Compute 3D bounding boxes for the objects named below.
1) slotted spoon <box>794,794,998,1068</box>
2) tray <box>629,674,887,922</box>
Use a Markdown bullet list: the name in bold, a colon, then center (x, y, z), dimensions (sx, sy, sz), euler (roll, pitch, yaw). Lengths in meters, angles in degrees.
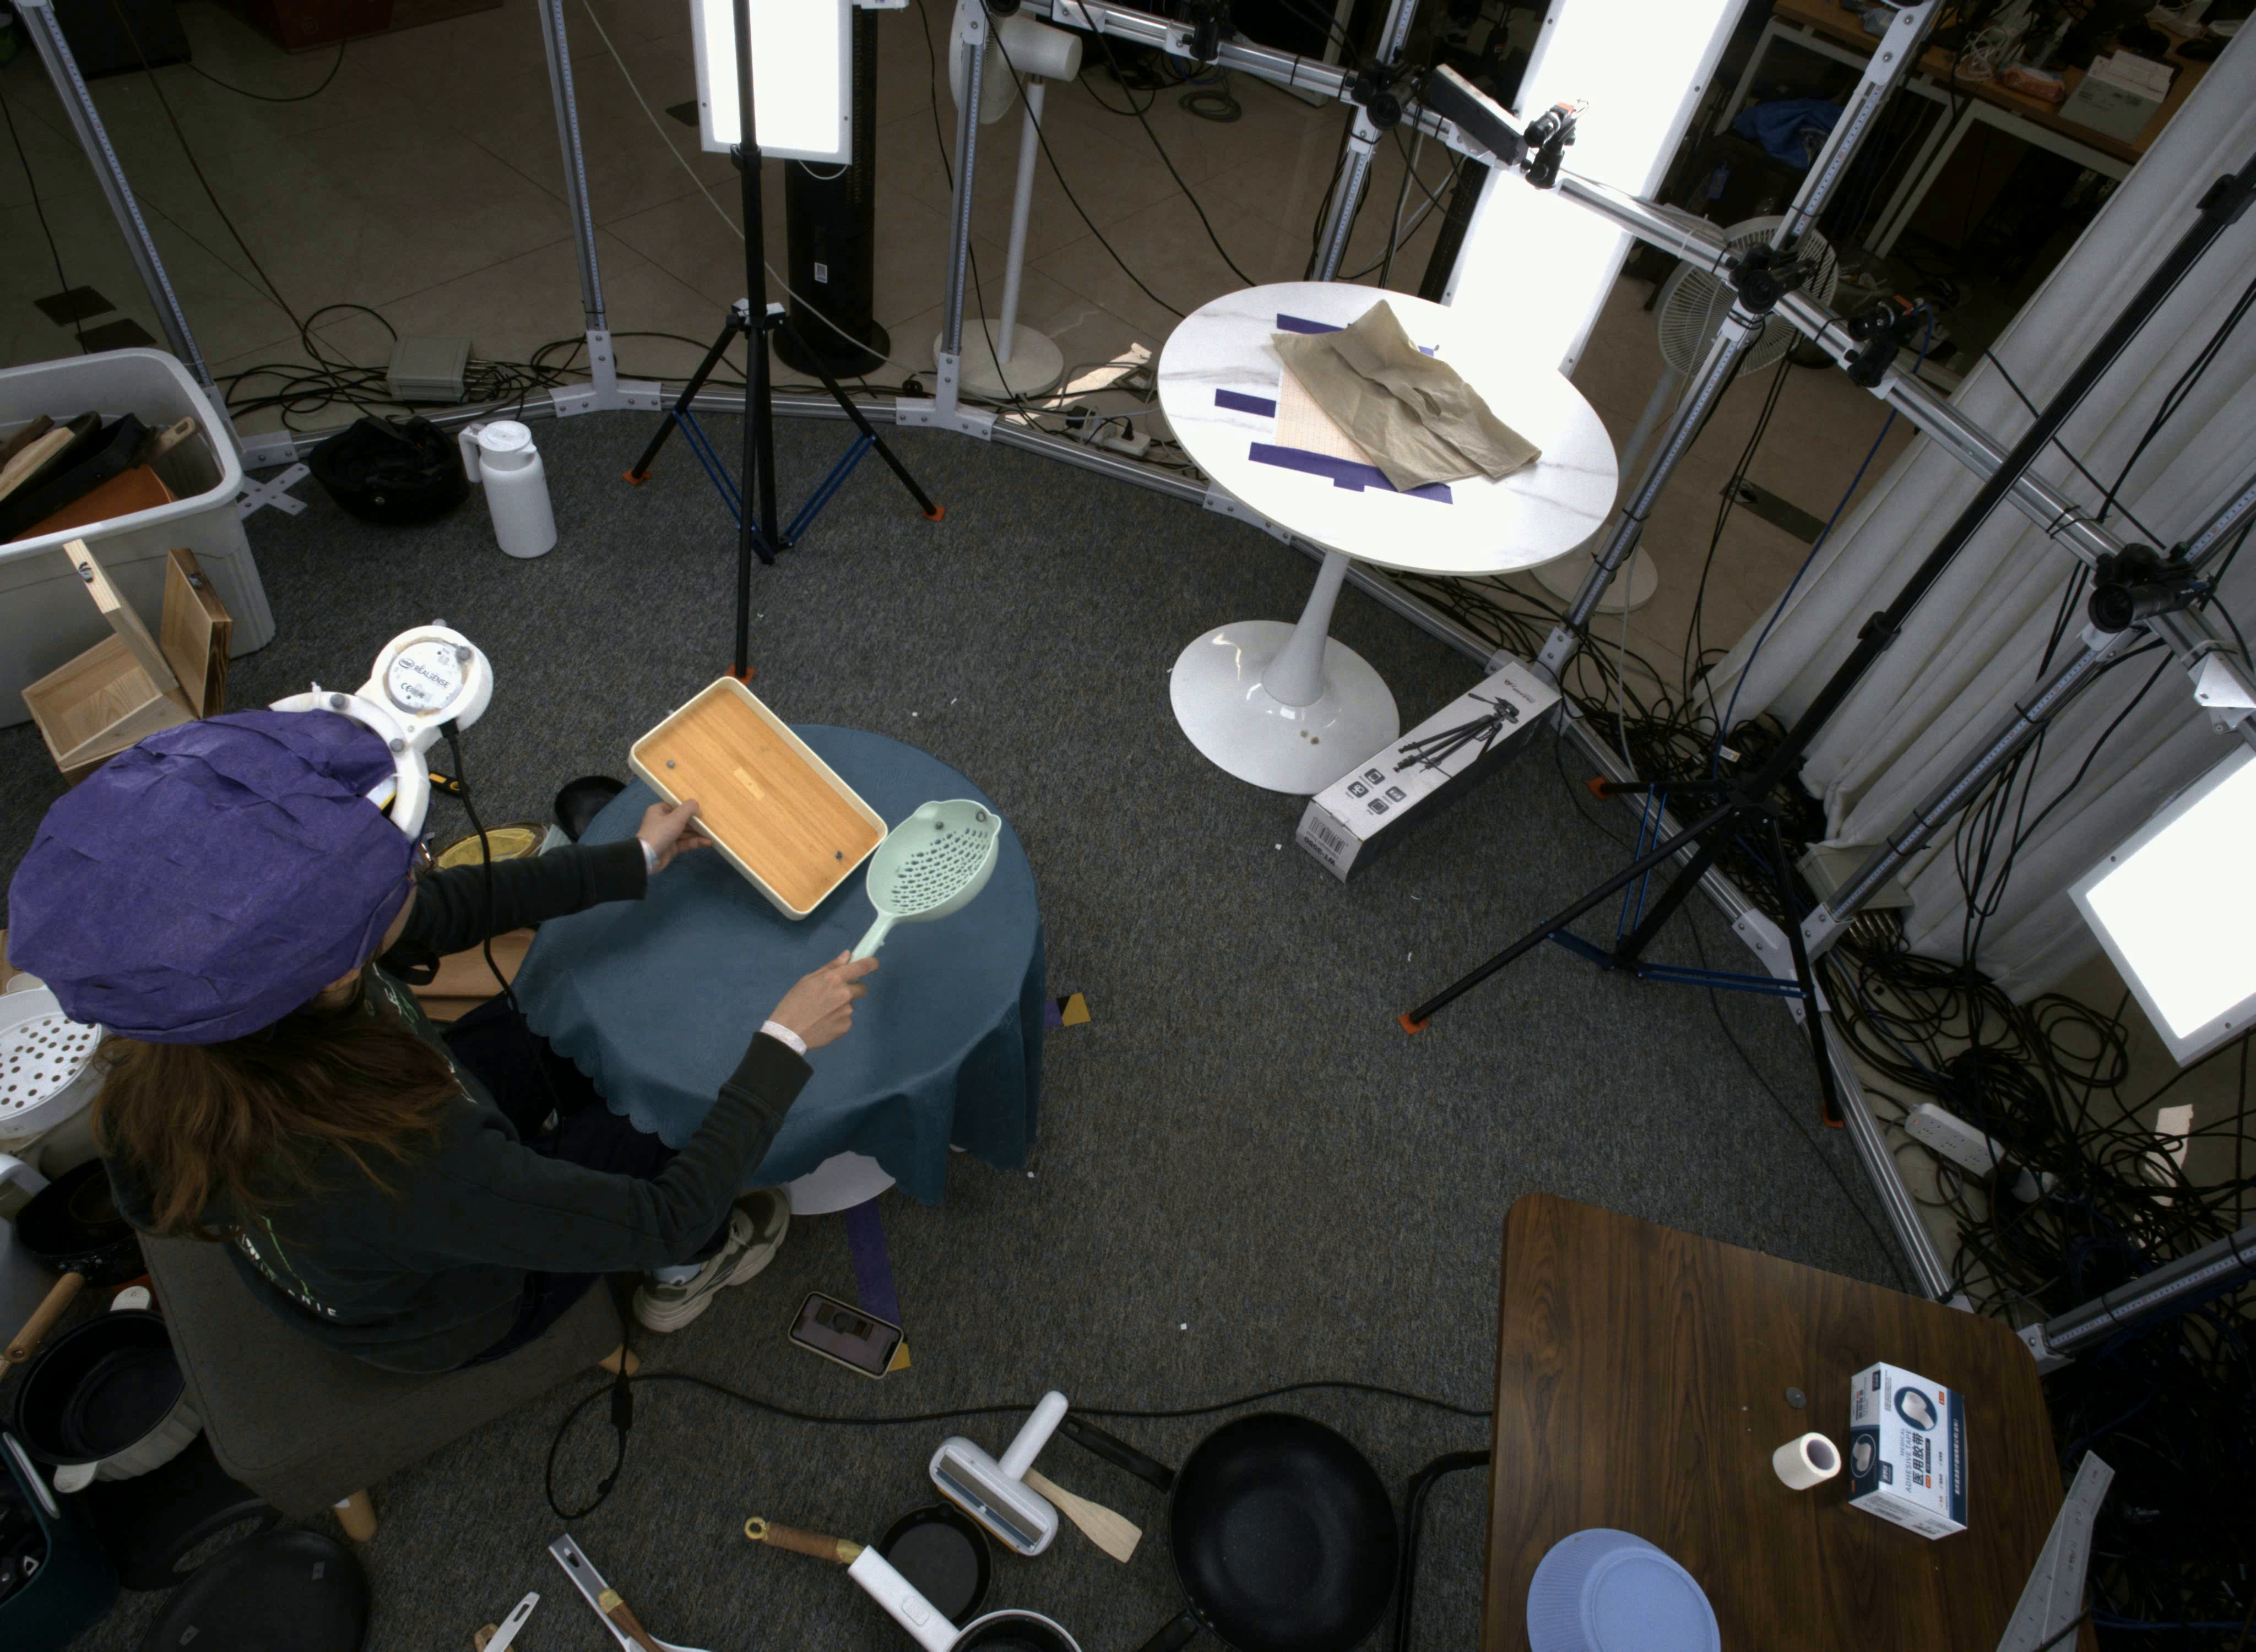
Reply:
- **slotted spoon**: center (-0.272, 0.111, 1.467), dimensions (0.163, 0.078, 0.358), euler (11, 50, 39)
- **tray**: center (-0.470, -0.039, 1.652), dimensions (0.303, 0.027, 0.191), euler (45, 50, -8)
